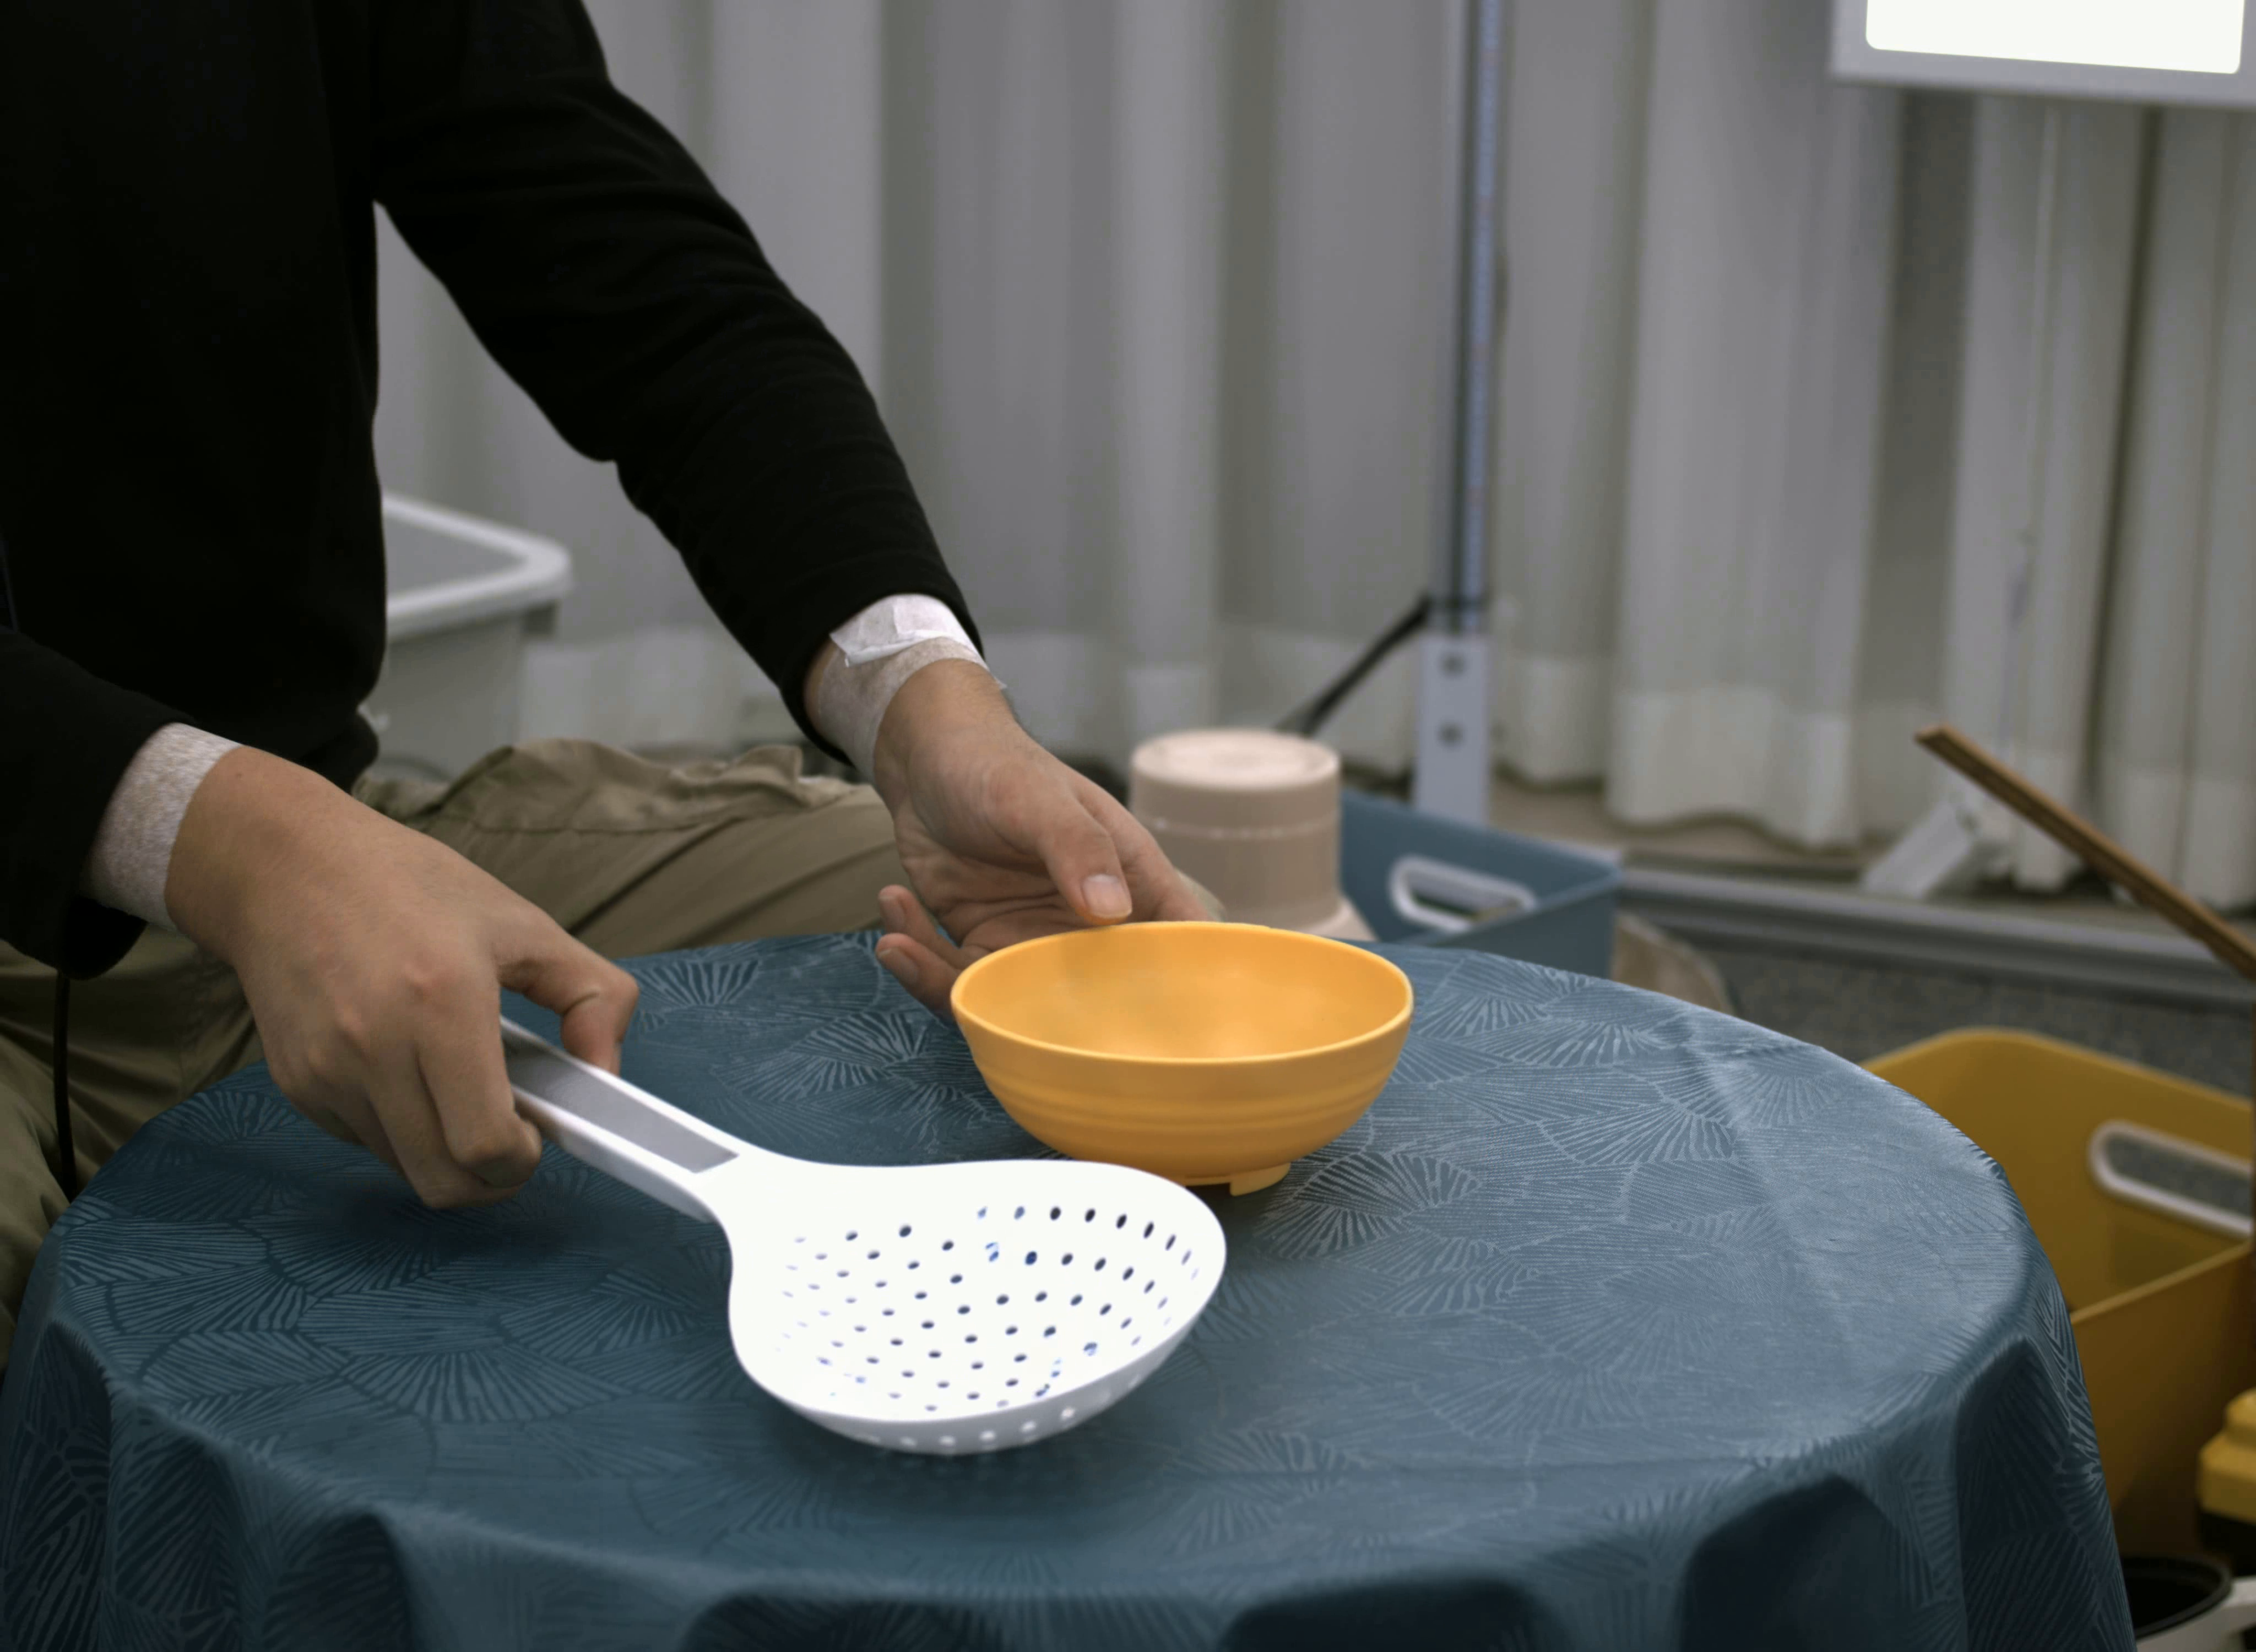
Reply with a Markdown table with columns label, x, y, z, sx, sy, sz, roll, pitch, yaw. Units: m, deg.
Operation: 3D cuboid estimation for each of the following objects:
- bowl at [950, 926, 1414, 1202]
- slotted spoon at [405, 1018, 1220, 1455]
| label | x | y | z | sx | sy | sz | roll | pitch | yaw |
| --- | --- | --- | --- | --- | --- | --- | --- | --- | --- |
| bowl | 0.016 | 0.079 | 1.636 | 0.145 | 0.060 | 0.144 | 2 | 15 | 0 |
| slotted spoon | -0.107 | 0.107 | 1.505 | 0.136 | 0.046 | 0.345 | -28 | 34 | -31 |
